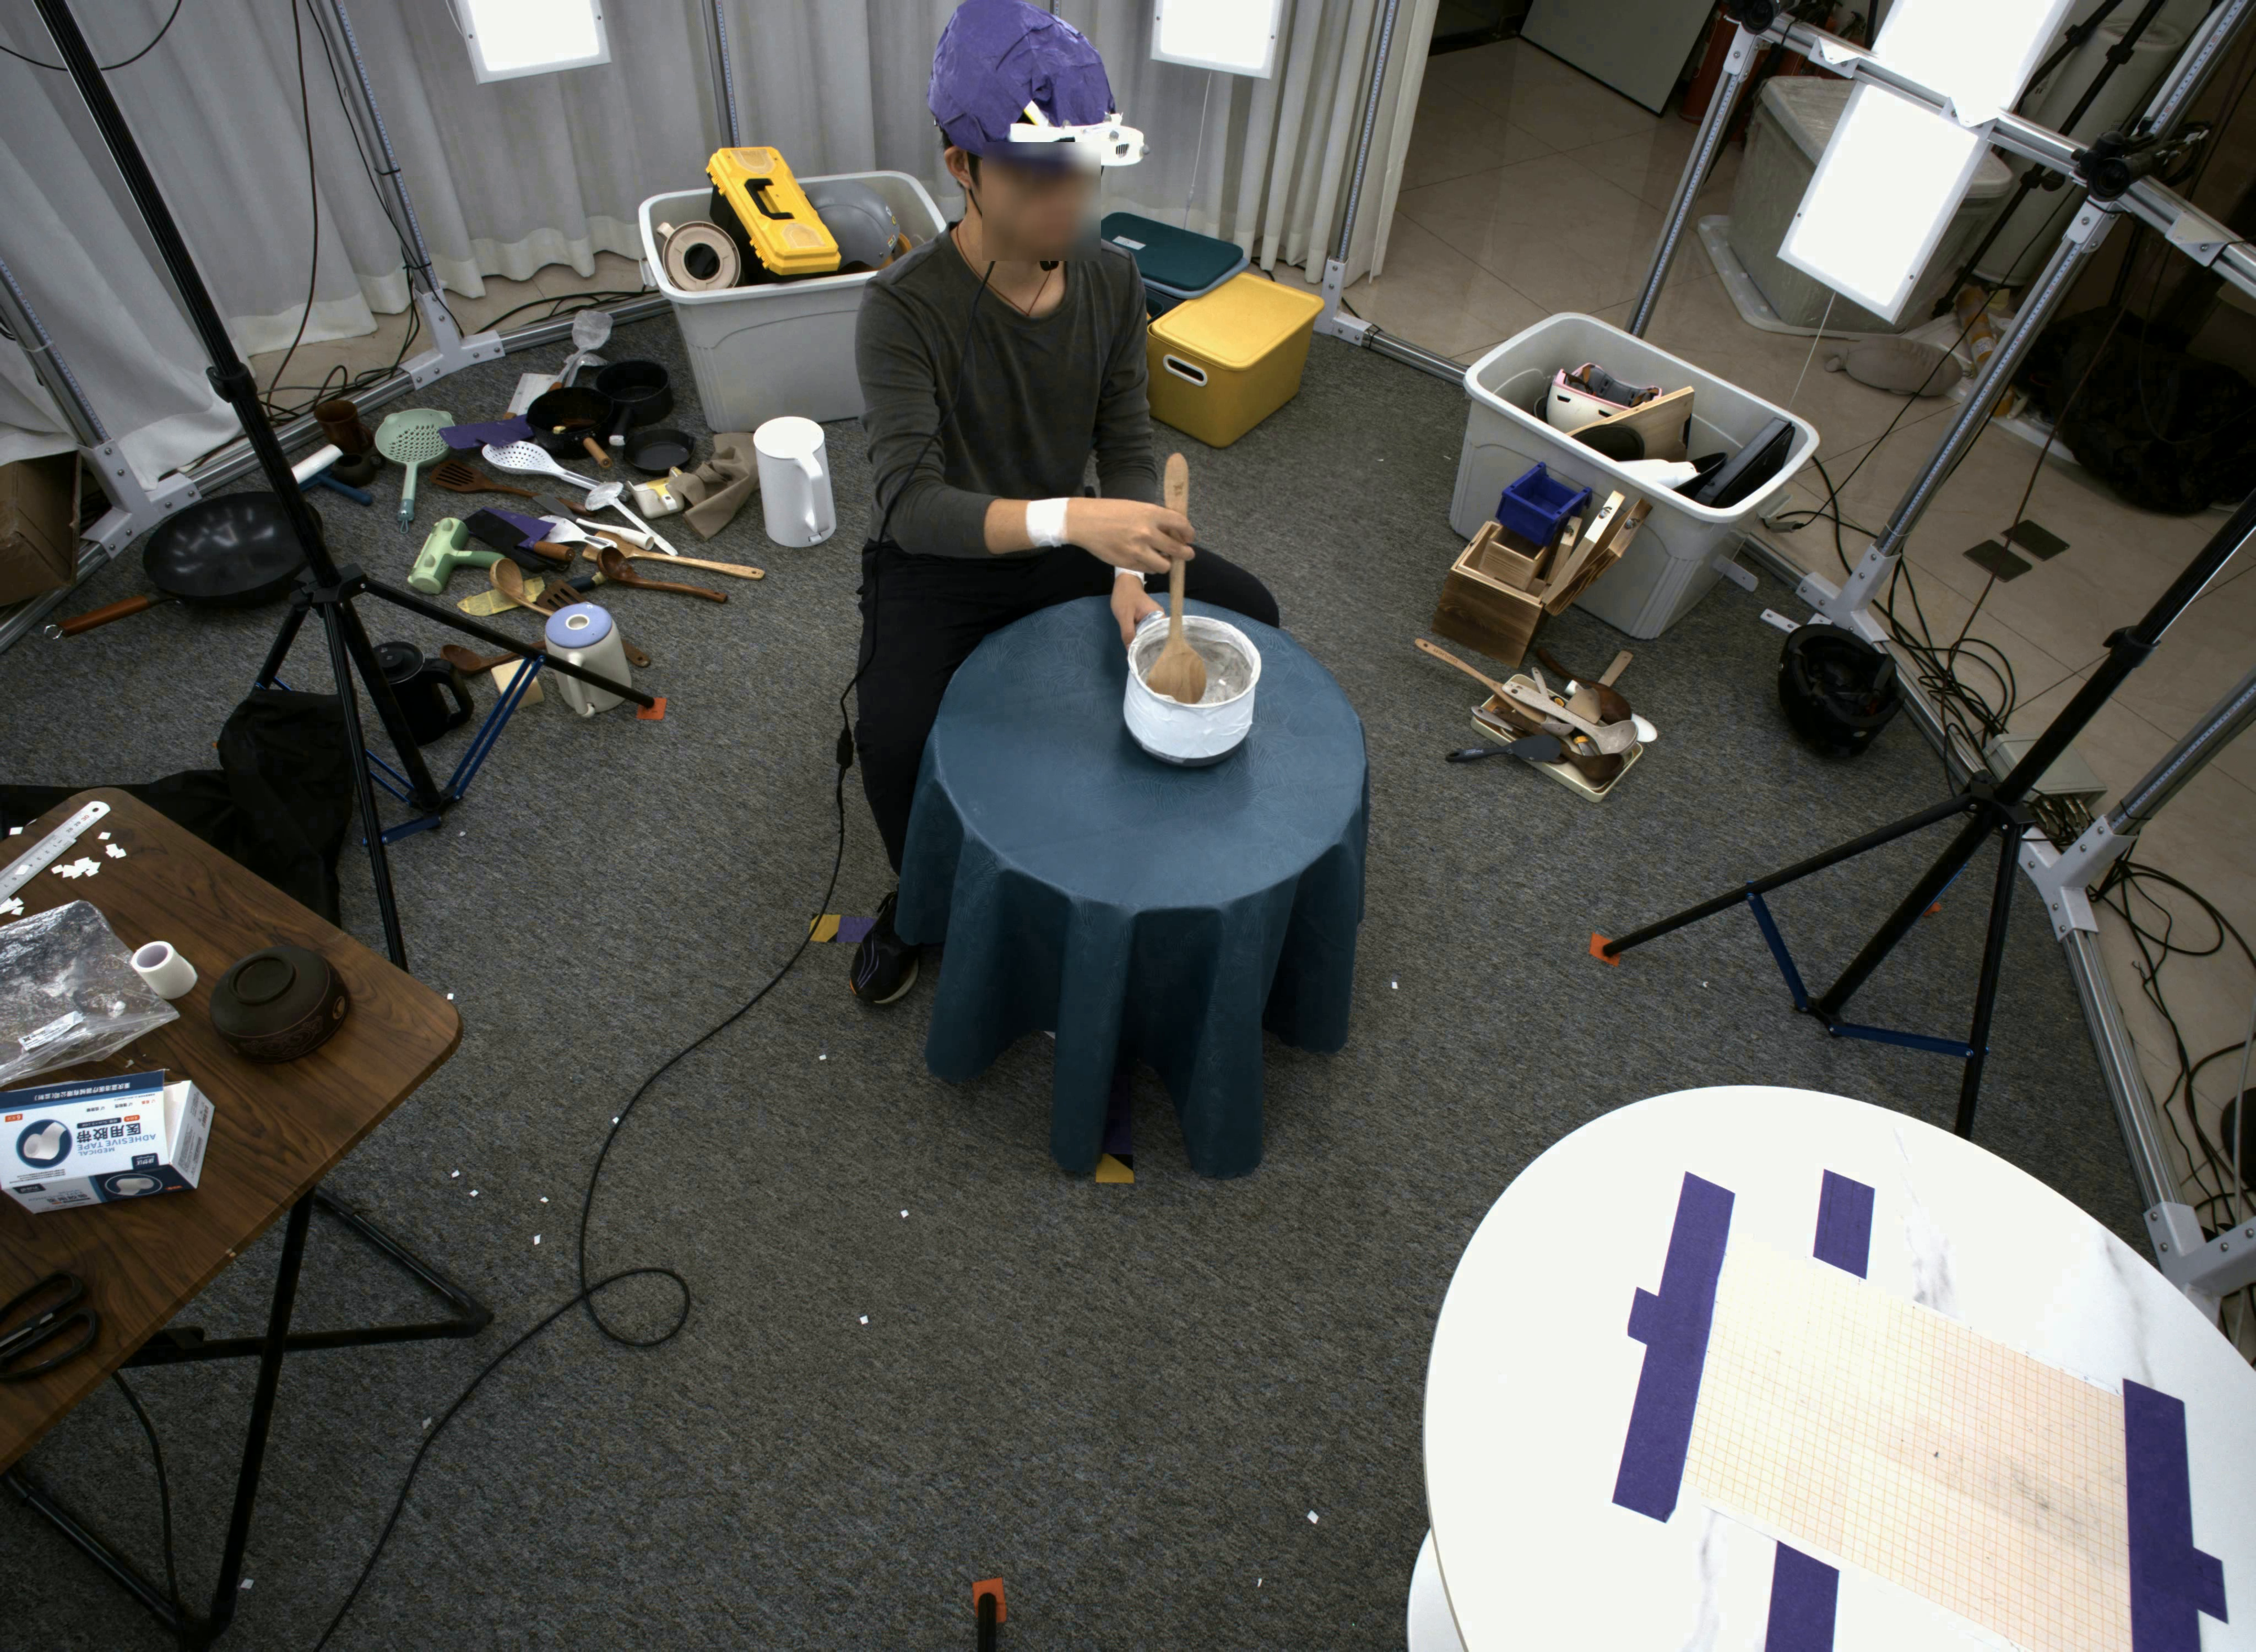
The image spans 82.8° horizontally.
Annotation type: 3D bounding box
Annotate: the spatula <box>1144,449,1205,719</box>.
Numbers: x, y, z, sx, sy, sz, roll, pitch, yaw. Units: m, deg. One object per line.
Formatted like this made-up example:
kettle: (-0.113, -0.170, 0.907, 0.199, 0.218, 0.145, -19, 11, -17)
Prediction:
spatula: (0.057, -0.288, 1.600, 0.096, 0.381, 0.019, -25, 49, -22)

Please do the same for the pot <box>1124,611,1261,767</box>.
pot: (0.070, -0.197, 1.757, 0.179, 0.133, 0.239, -21, 53, -21)
